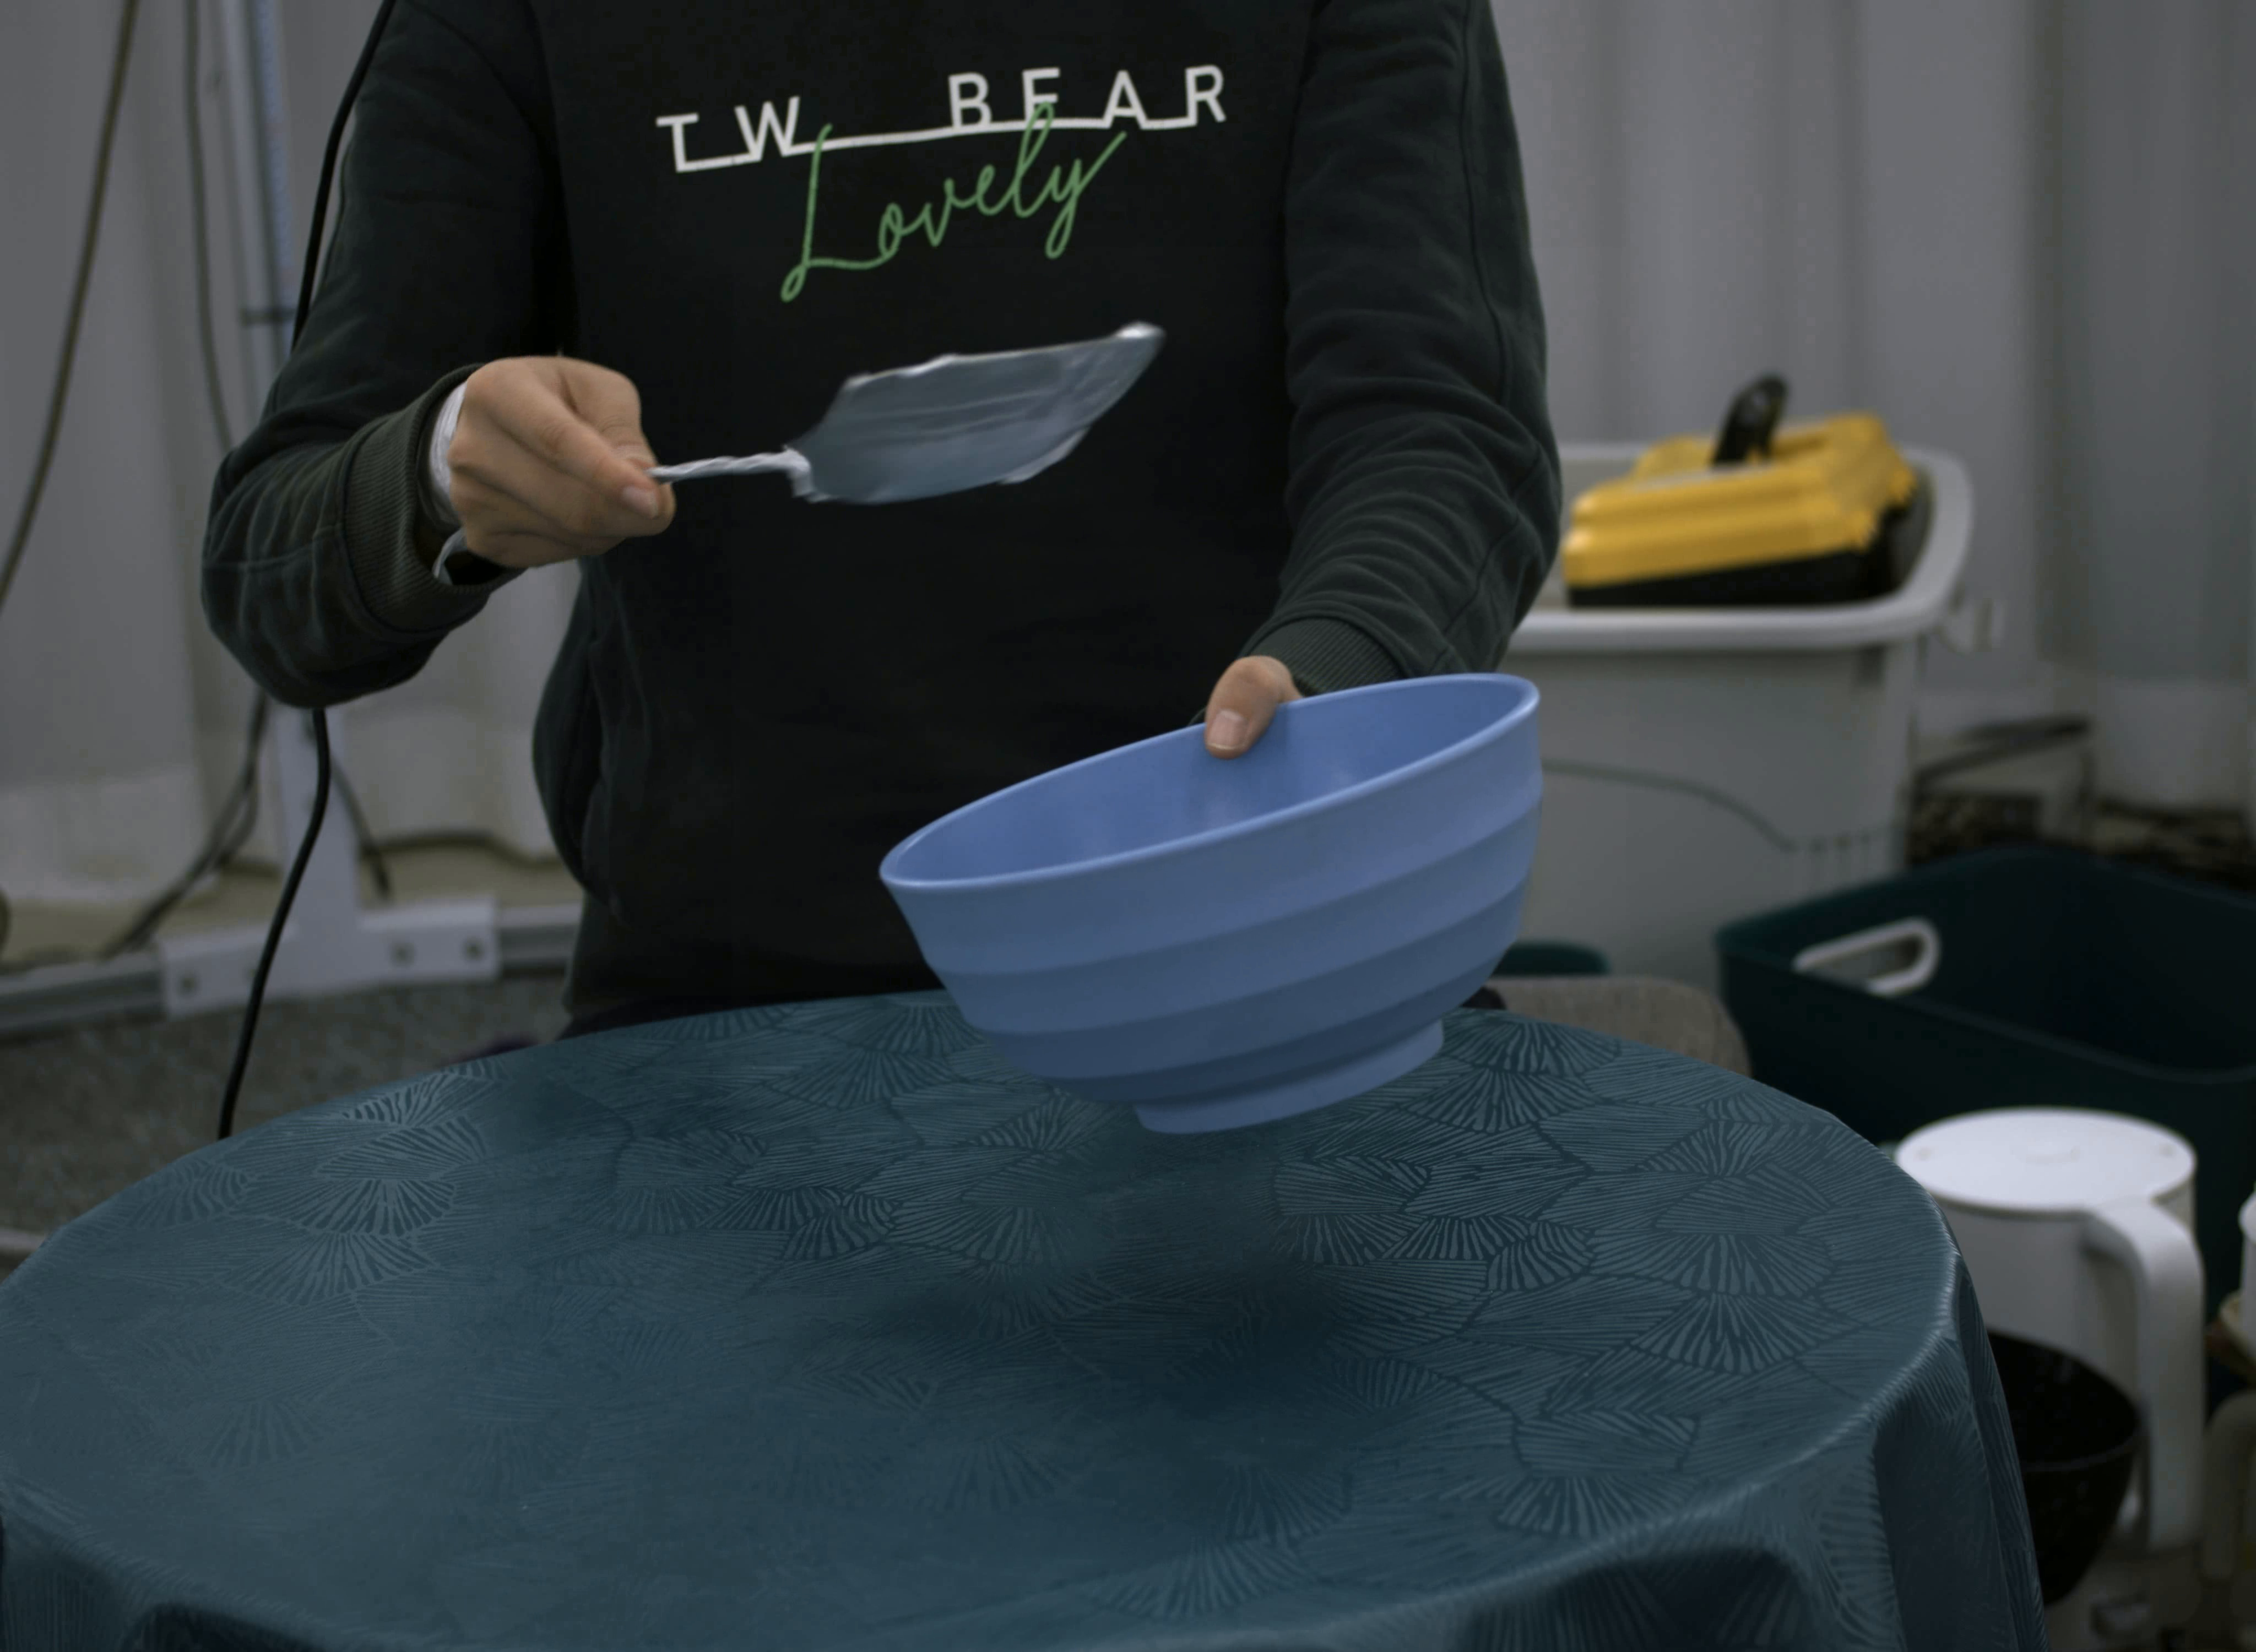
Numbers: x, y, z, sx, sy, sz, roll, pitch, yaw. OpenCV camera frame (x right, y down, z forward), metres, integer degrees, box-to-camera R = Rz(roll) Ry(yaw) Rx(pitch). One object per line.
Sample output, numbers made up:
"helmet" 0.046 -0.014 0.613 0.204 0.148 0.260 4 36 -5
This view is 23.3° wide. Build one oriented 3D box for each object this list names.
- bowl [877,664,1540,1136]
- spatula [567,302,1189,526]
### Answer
"bowl" 0.034 0.029 1.575 0.196 0.095 0.197 -16 10 3
"spatula" -0.100 -0.117 1.644 0.098 0.045 0.366 -14 7 -28
